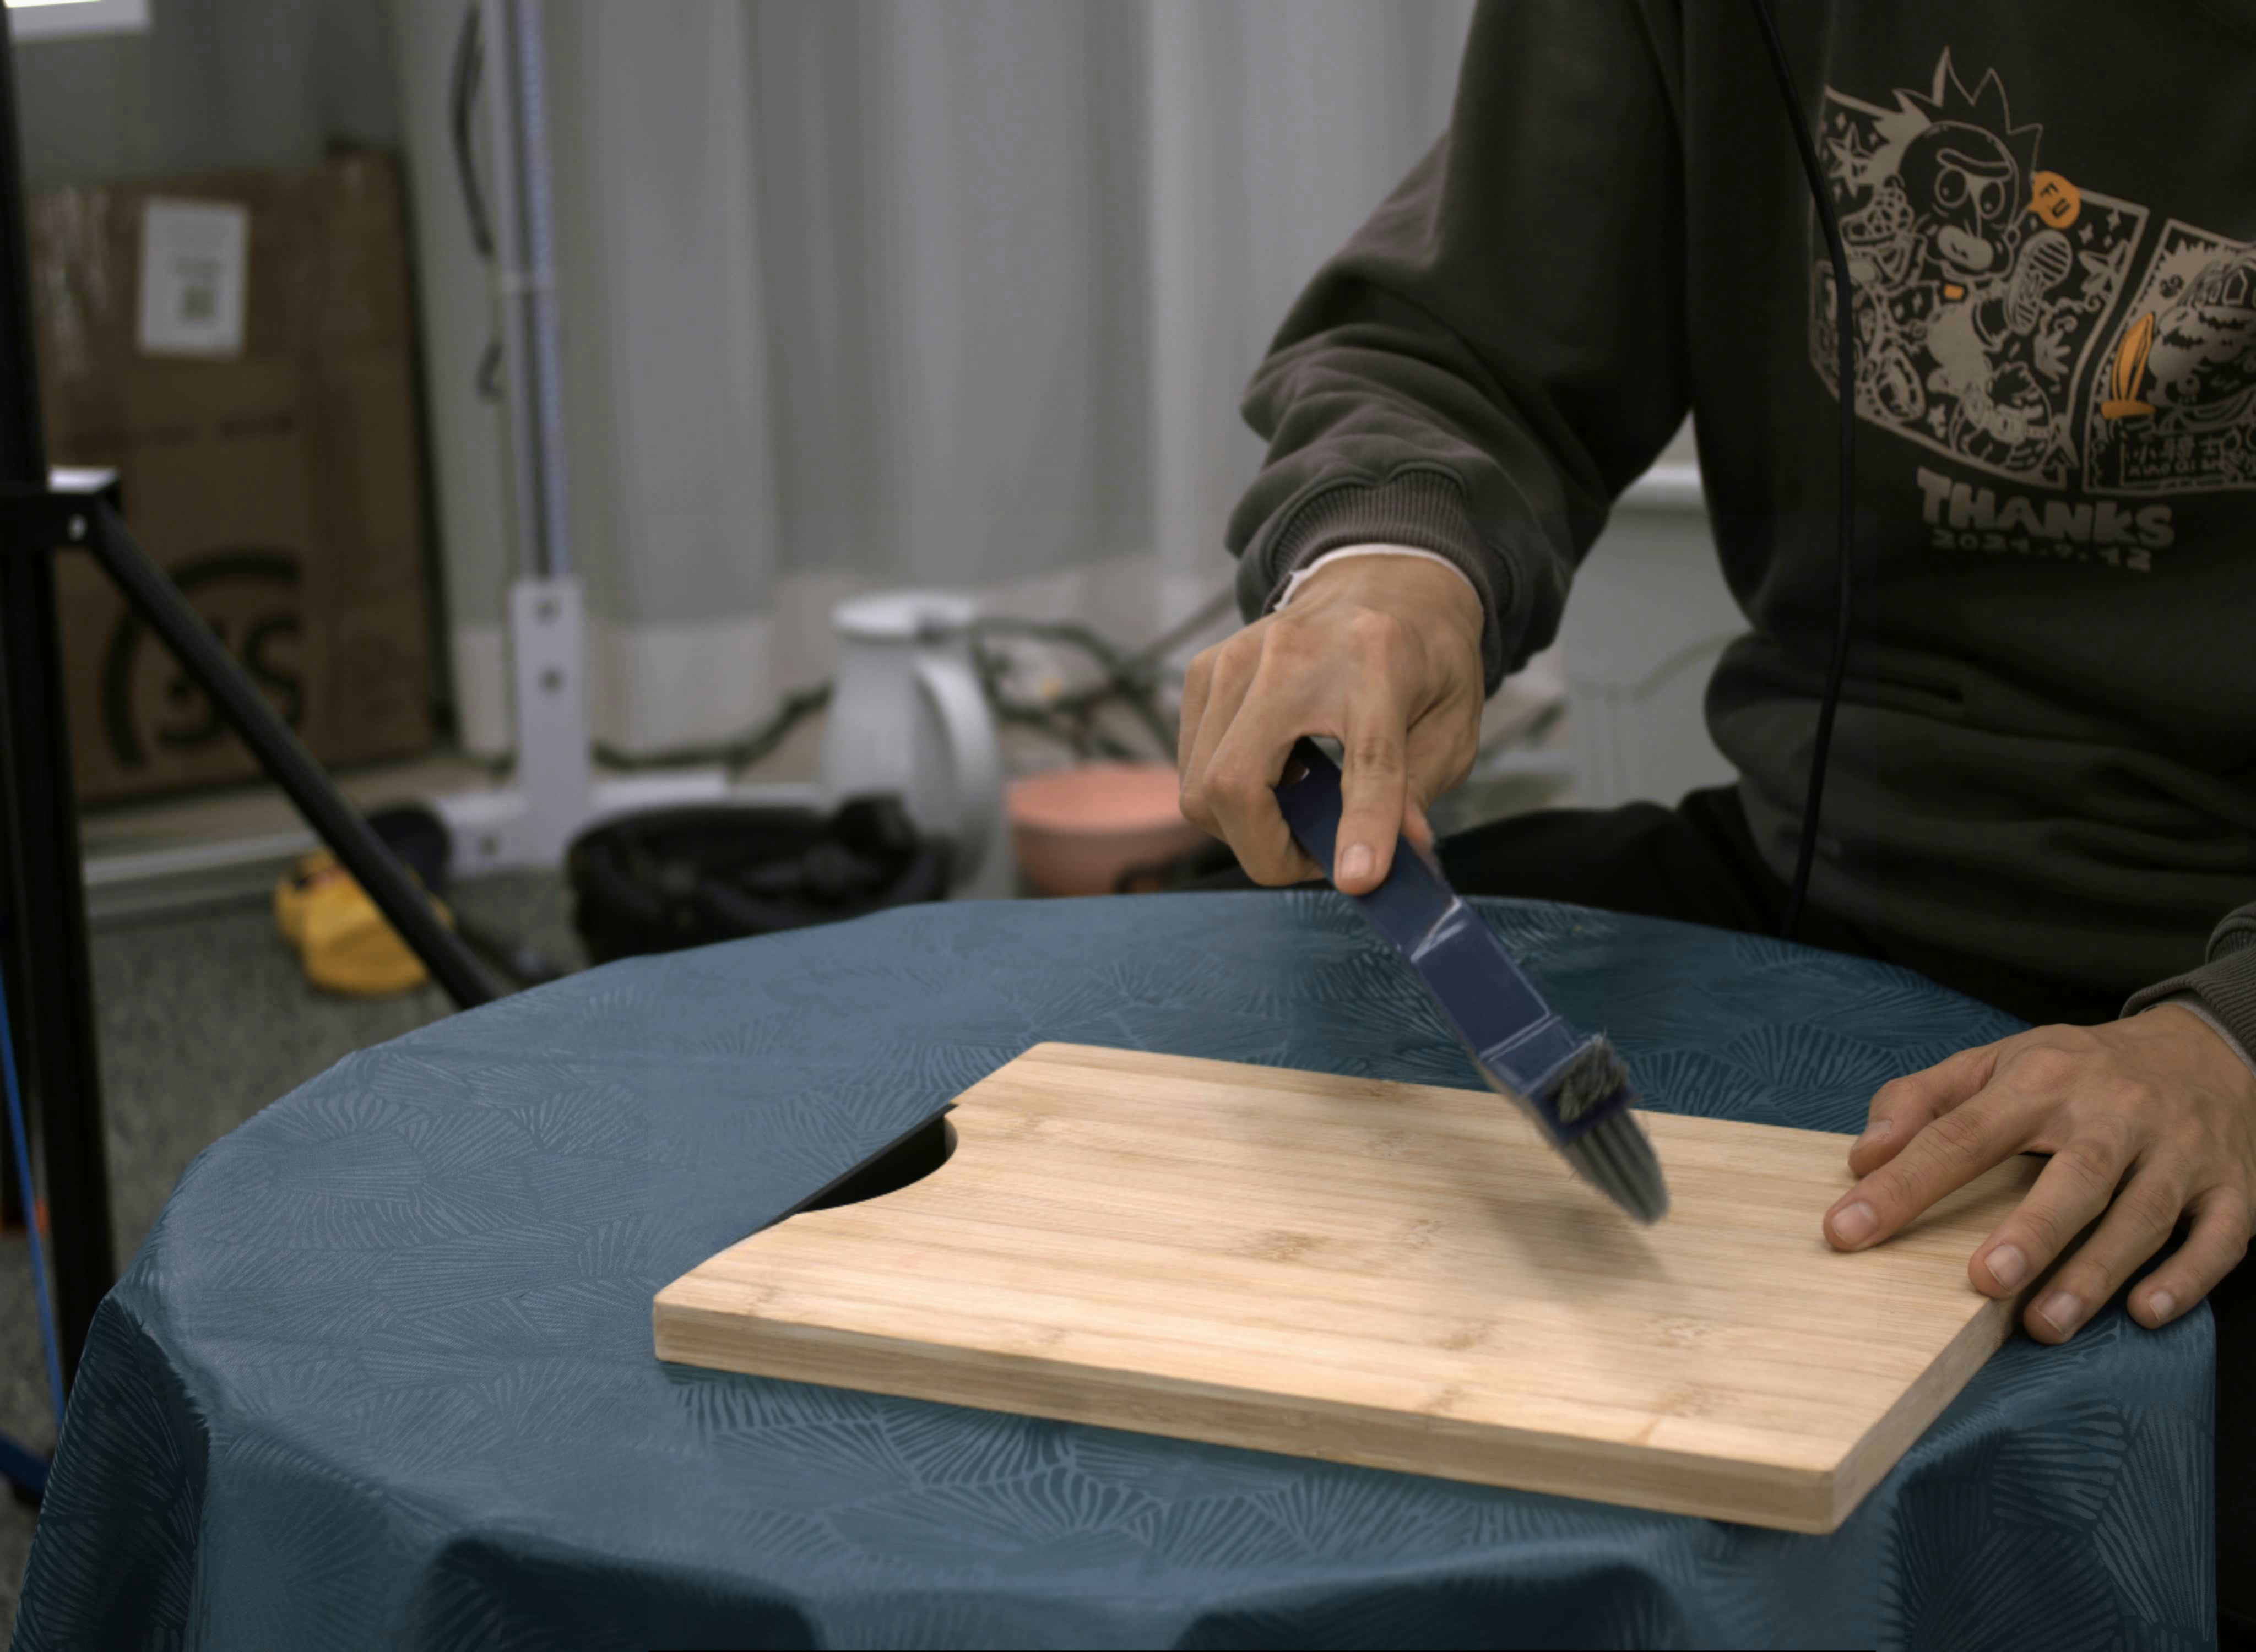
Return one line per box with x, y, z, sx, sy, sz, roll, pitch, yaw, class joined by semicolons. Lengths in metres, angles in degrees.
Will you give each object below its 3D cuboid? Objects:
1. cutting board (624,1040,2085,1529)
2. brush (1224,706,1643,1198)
0.067;0.121;1.475;0.354;0.023;0.247;5;17;26;cutting board
0.081;0.020;1.512;0.033;0.094;0.279;-36;38;-2;brush
